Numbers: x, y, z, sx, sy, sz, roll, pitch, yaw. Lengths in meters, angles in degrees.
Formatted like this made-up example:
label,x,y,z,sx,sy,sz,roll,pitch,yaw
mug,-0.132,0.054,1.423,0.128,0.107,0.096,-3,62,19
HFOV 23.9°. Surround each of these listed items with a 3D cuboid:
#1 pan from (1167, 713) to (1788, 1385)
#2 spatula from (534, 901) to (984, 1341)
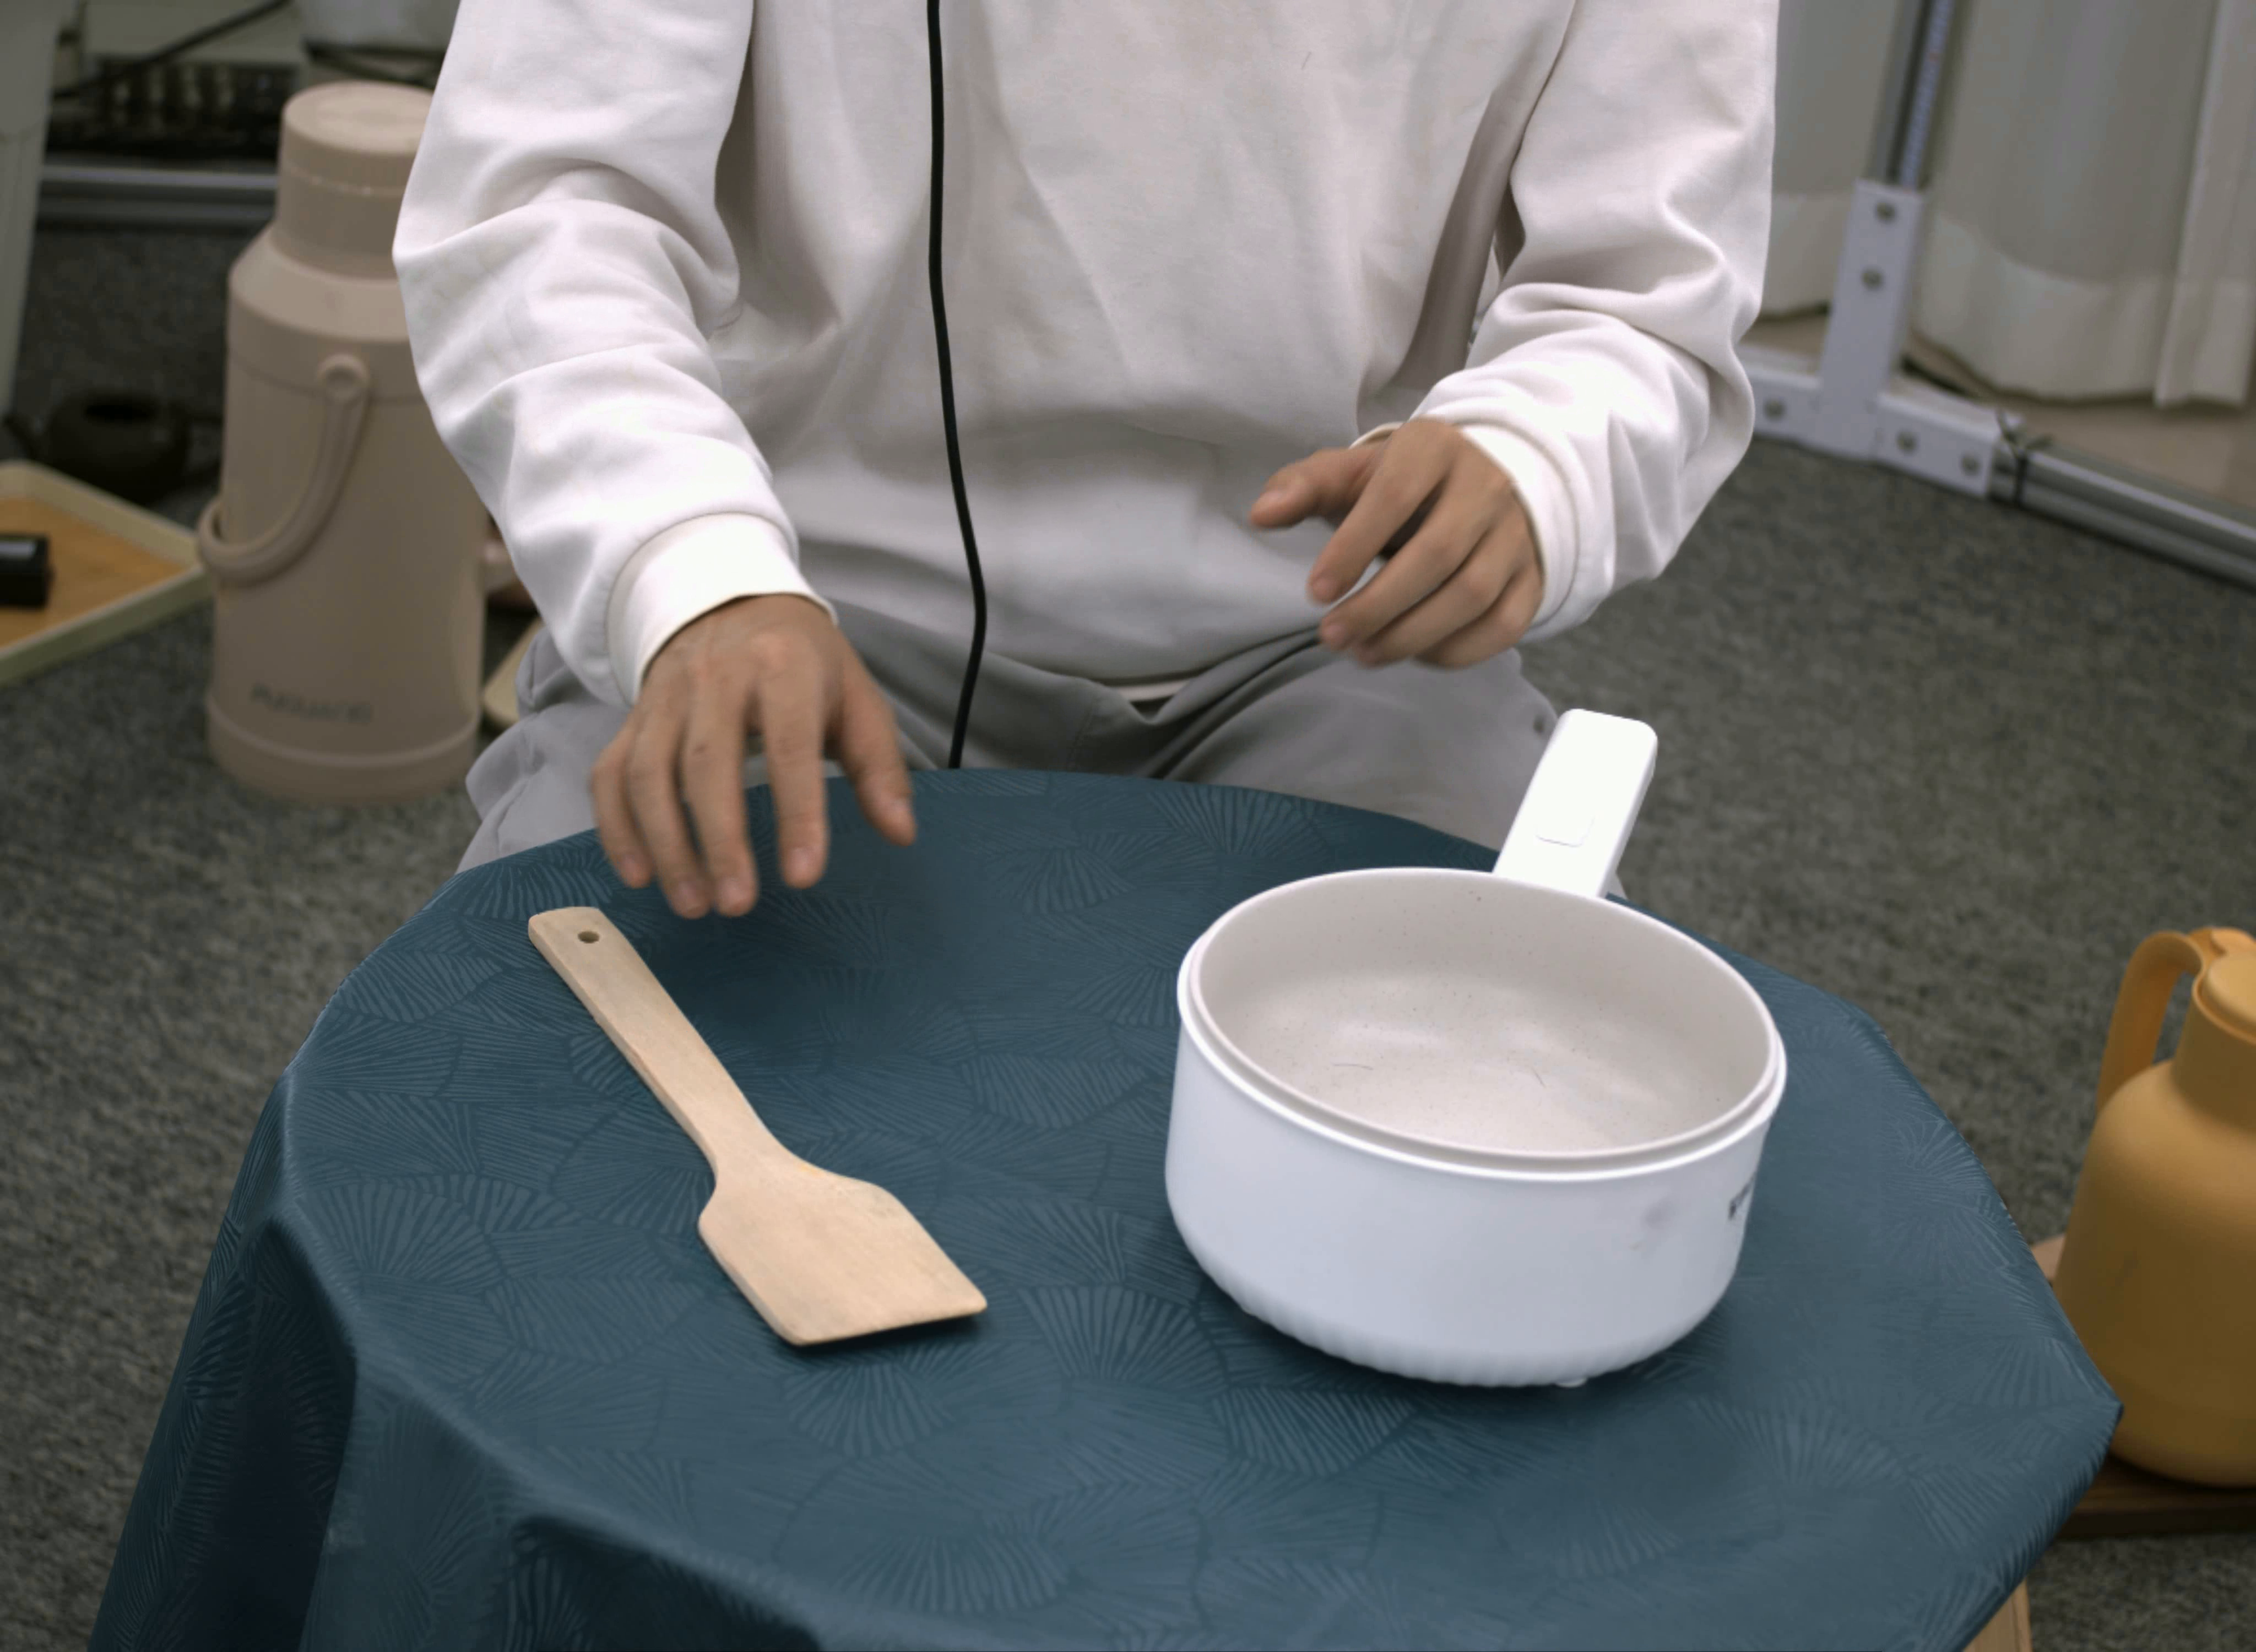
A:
label,x,y,z,sx,sy,sz,roll,pitch,yaw
pan,0.131,0.072,1.830,0.201,0.102,0.355,12,26,11
spatula,-0.141,0.096,1.817,0.072,0.010,0.296,-9,31,-26
